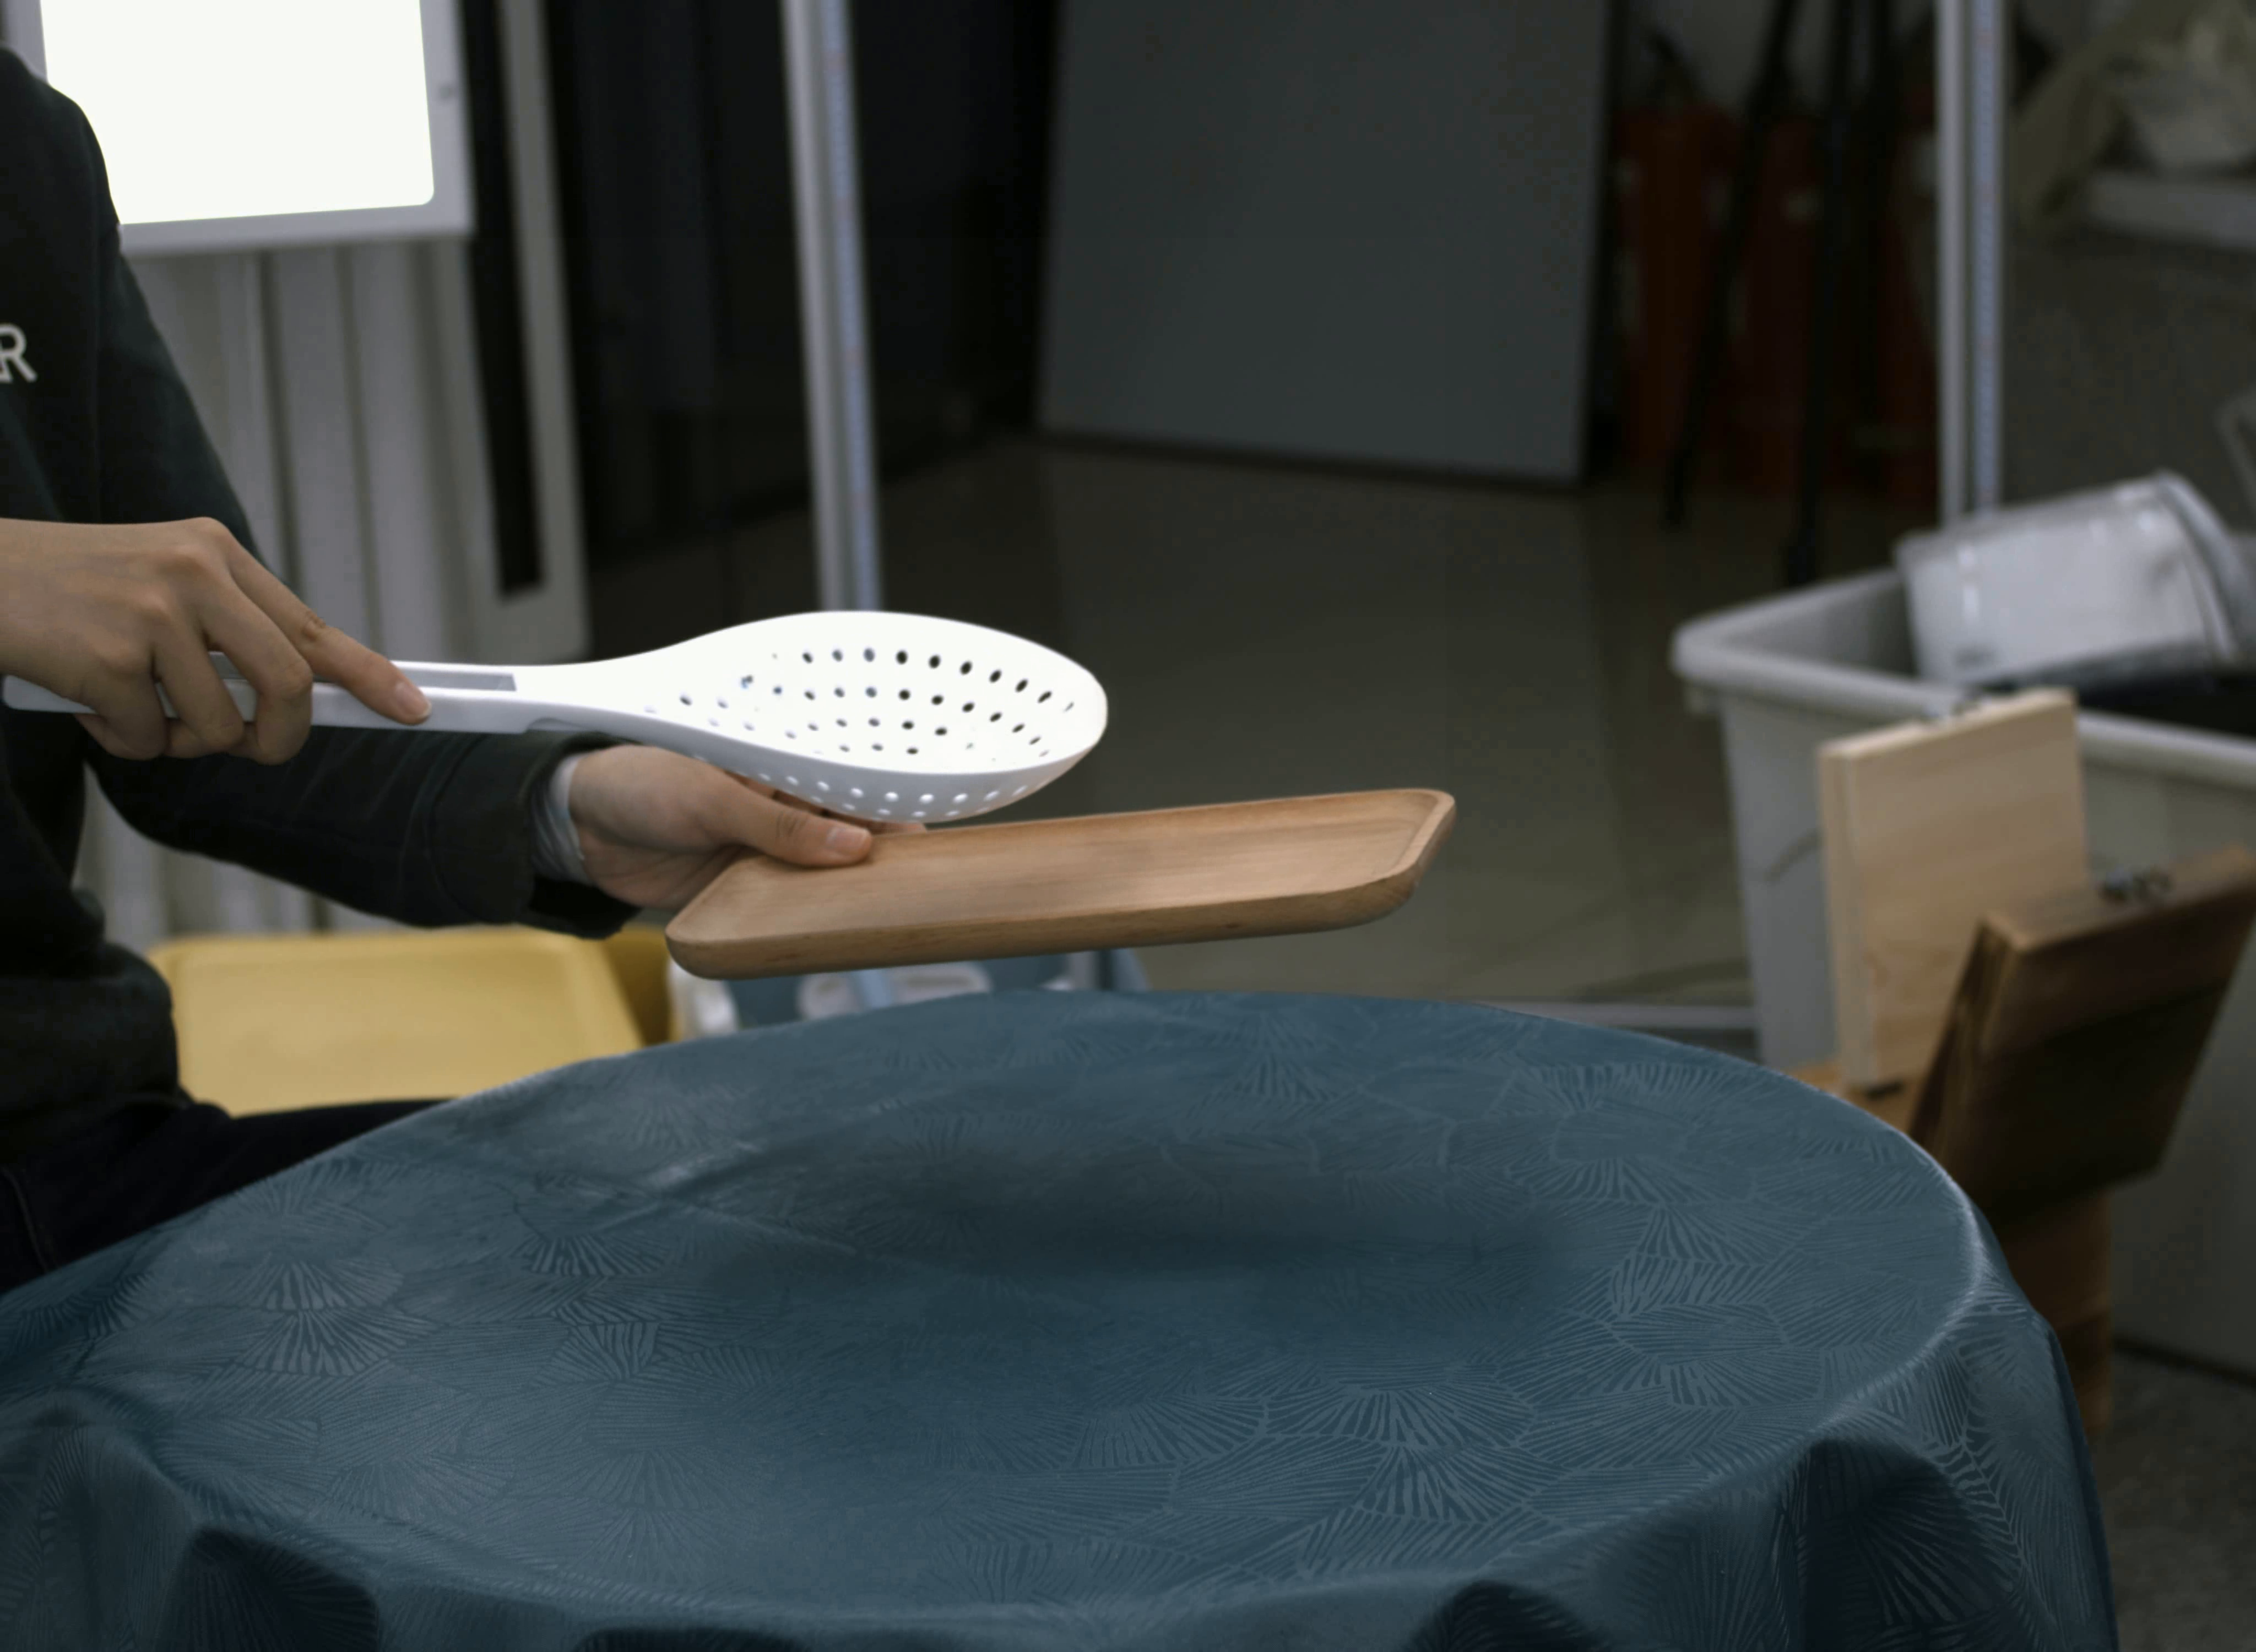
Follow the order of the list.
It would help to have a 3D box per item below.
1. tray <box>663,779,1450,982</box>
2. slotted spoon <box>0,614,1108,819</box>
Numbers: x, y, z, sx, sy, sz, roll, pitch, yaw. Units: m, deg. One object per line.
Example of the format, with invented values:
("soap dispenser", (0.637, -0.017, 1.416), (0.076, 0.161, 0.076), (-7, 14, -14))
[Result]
("tray", (-0.022, 0.018, 1.748), (0.250, 0.023, 0.129), (-7, 11, 17))
("slotted spoon", (-0.178, -0.042, 1.699), (0.343, 0.046, 0.137), (7, 20, -13))
